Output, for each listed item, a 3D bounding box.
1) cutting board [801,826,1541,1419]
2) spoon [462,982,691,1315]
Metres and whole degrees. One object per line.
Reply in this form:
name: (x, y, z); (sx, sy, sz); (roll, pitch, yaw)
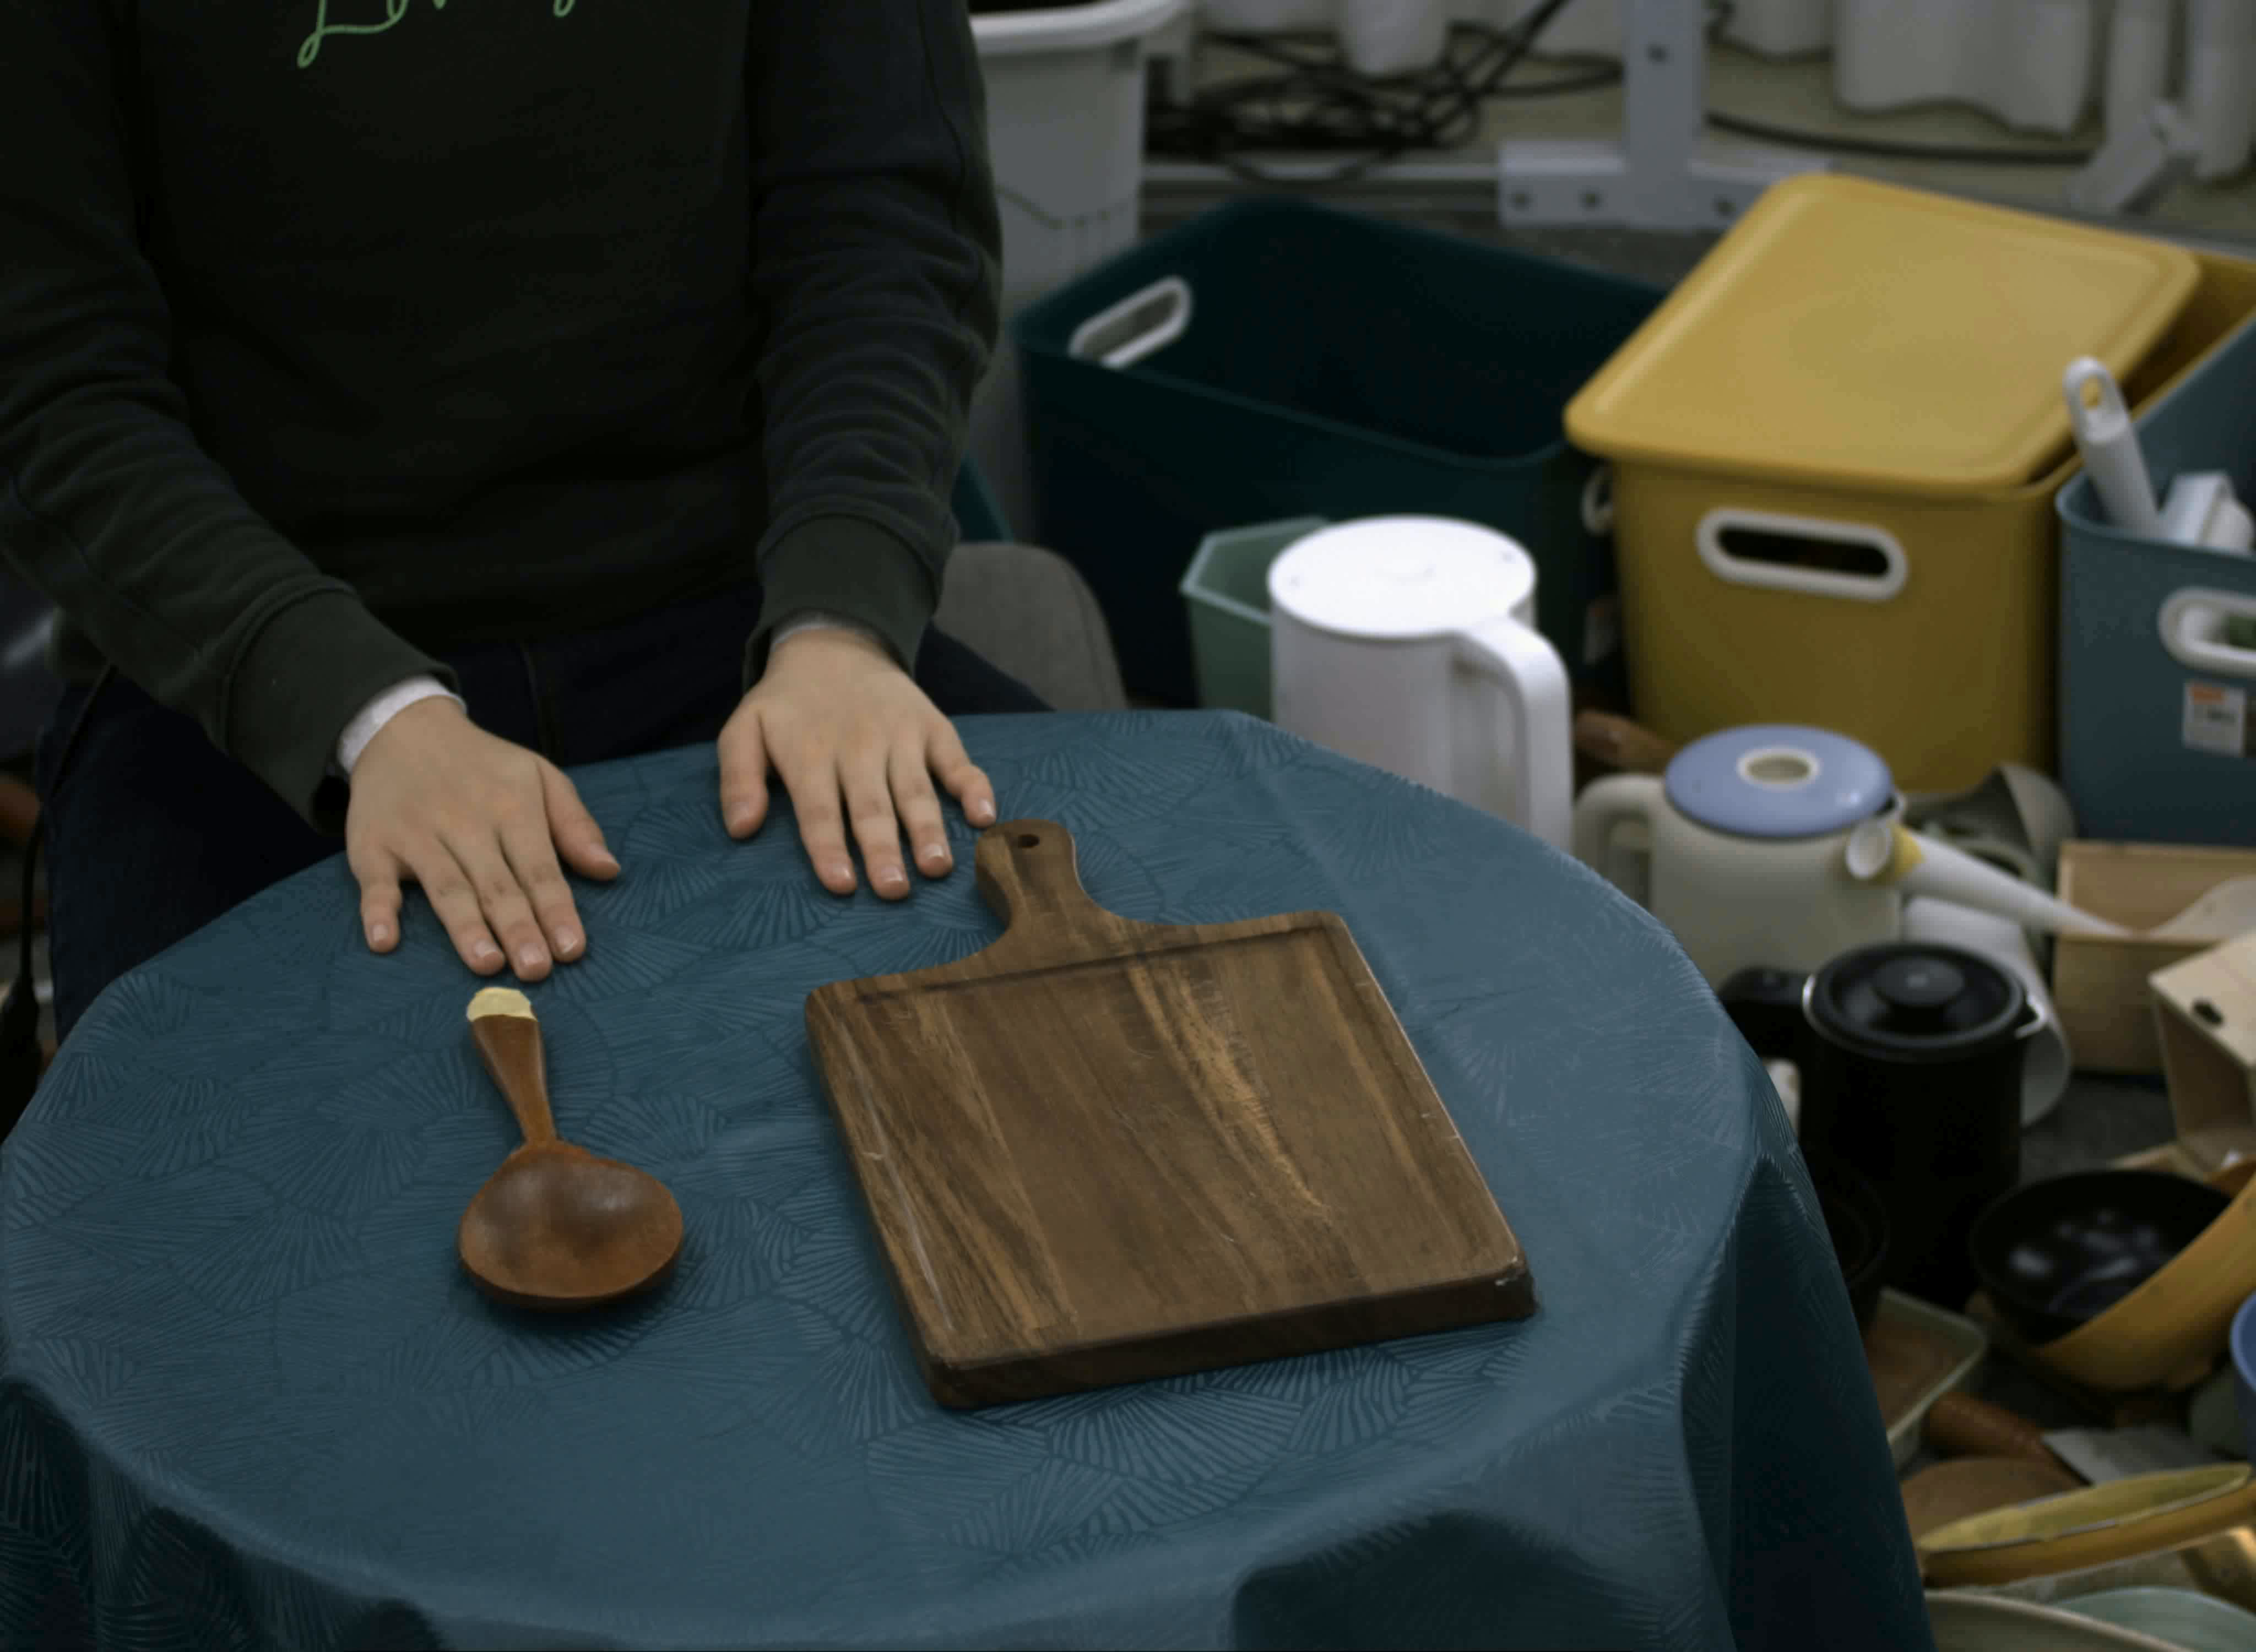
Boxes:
cutting board: (-0.002, 0.086, 1.912); (0.201, 0.023, 0.356); (-9, 28, -10)
spoon: (-0.195, 0.109, 1.886); (0.075, 0.017, 0.218); (-10, 29, -11)
